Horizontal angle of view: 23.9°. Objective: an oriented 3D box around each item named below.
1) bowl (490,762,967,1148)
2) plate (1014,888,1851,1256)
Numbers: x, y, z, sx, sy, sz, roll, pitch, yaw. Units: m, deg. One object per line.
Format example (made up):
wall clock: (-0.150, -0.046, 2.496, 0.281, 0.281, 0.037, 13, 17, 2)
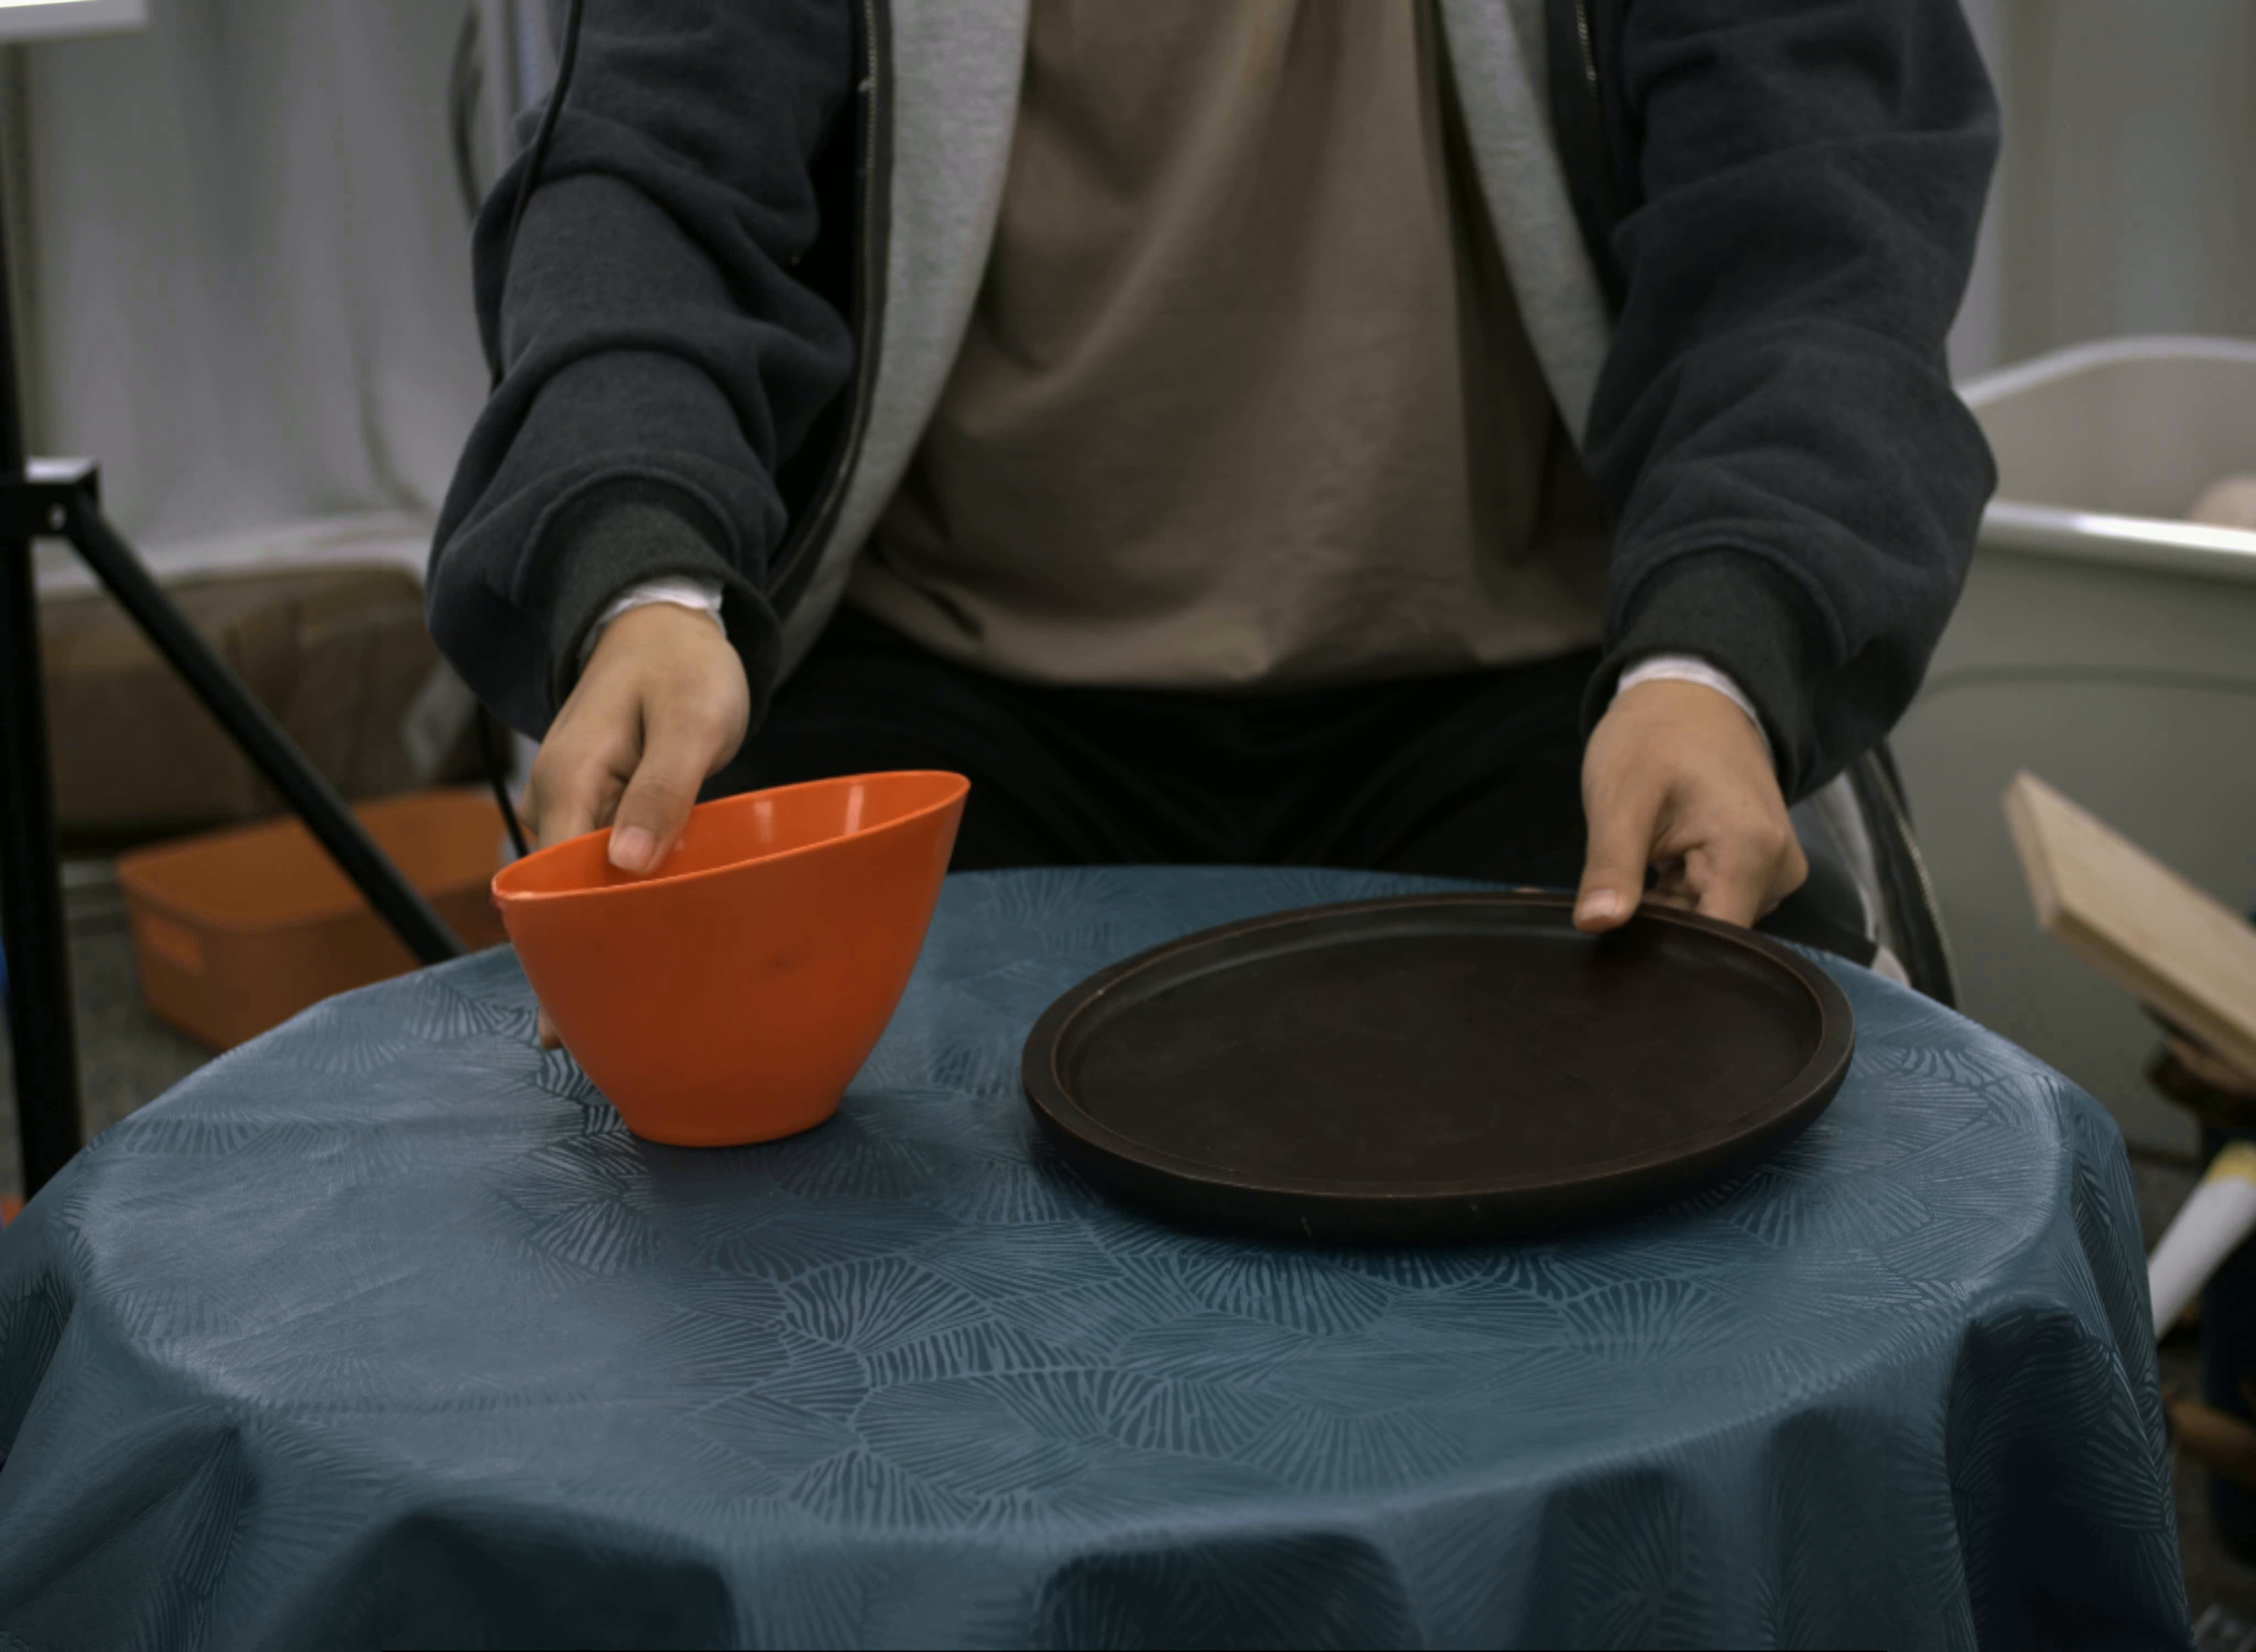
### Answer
bowl: (-0.118, 0.040, 1.626, 0.147, 0.104, 0.149, -5, 18, 0)
plate: (0.092, 0.072, 1.605, 0.254, 0.029, 0.256, -6, 19, 1)
